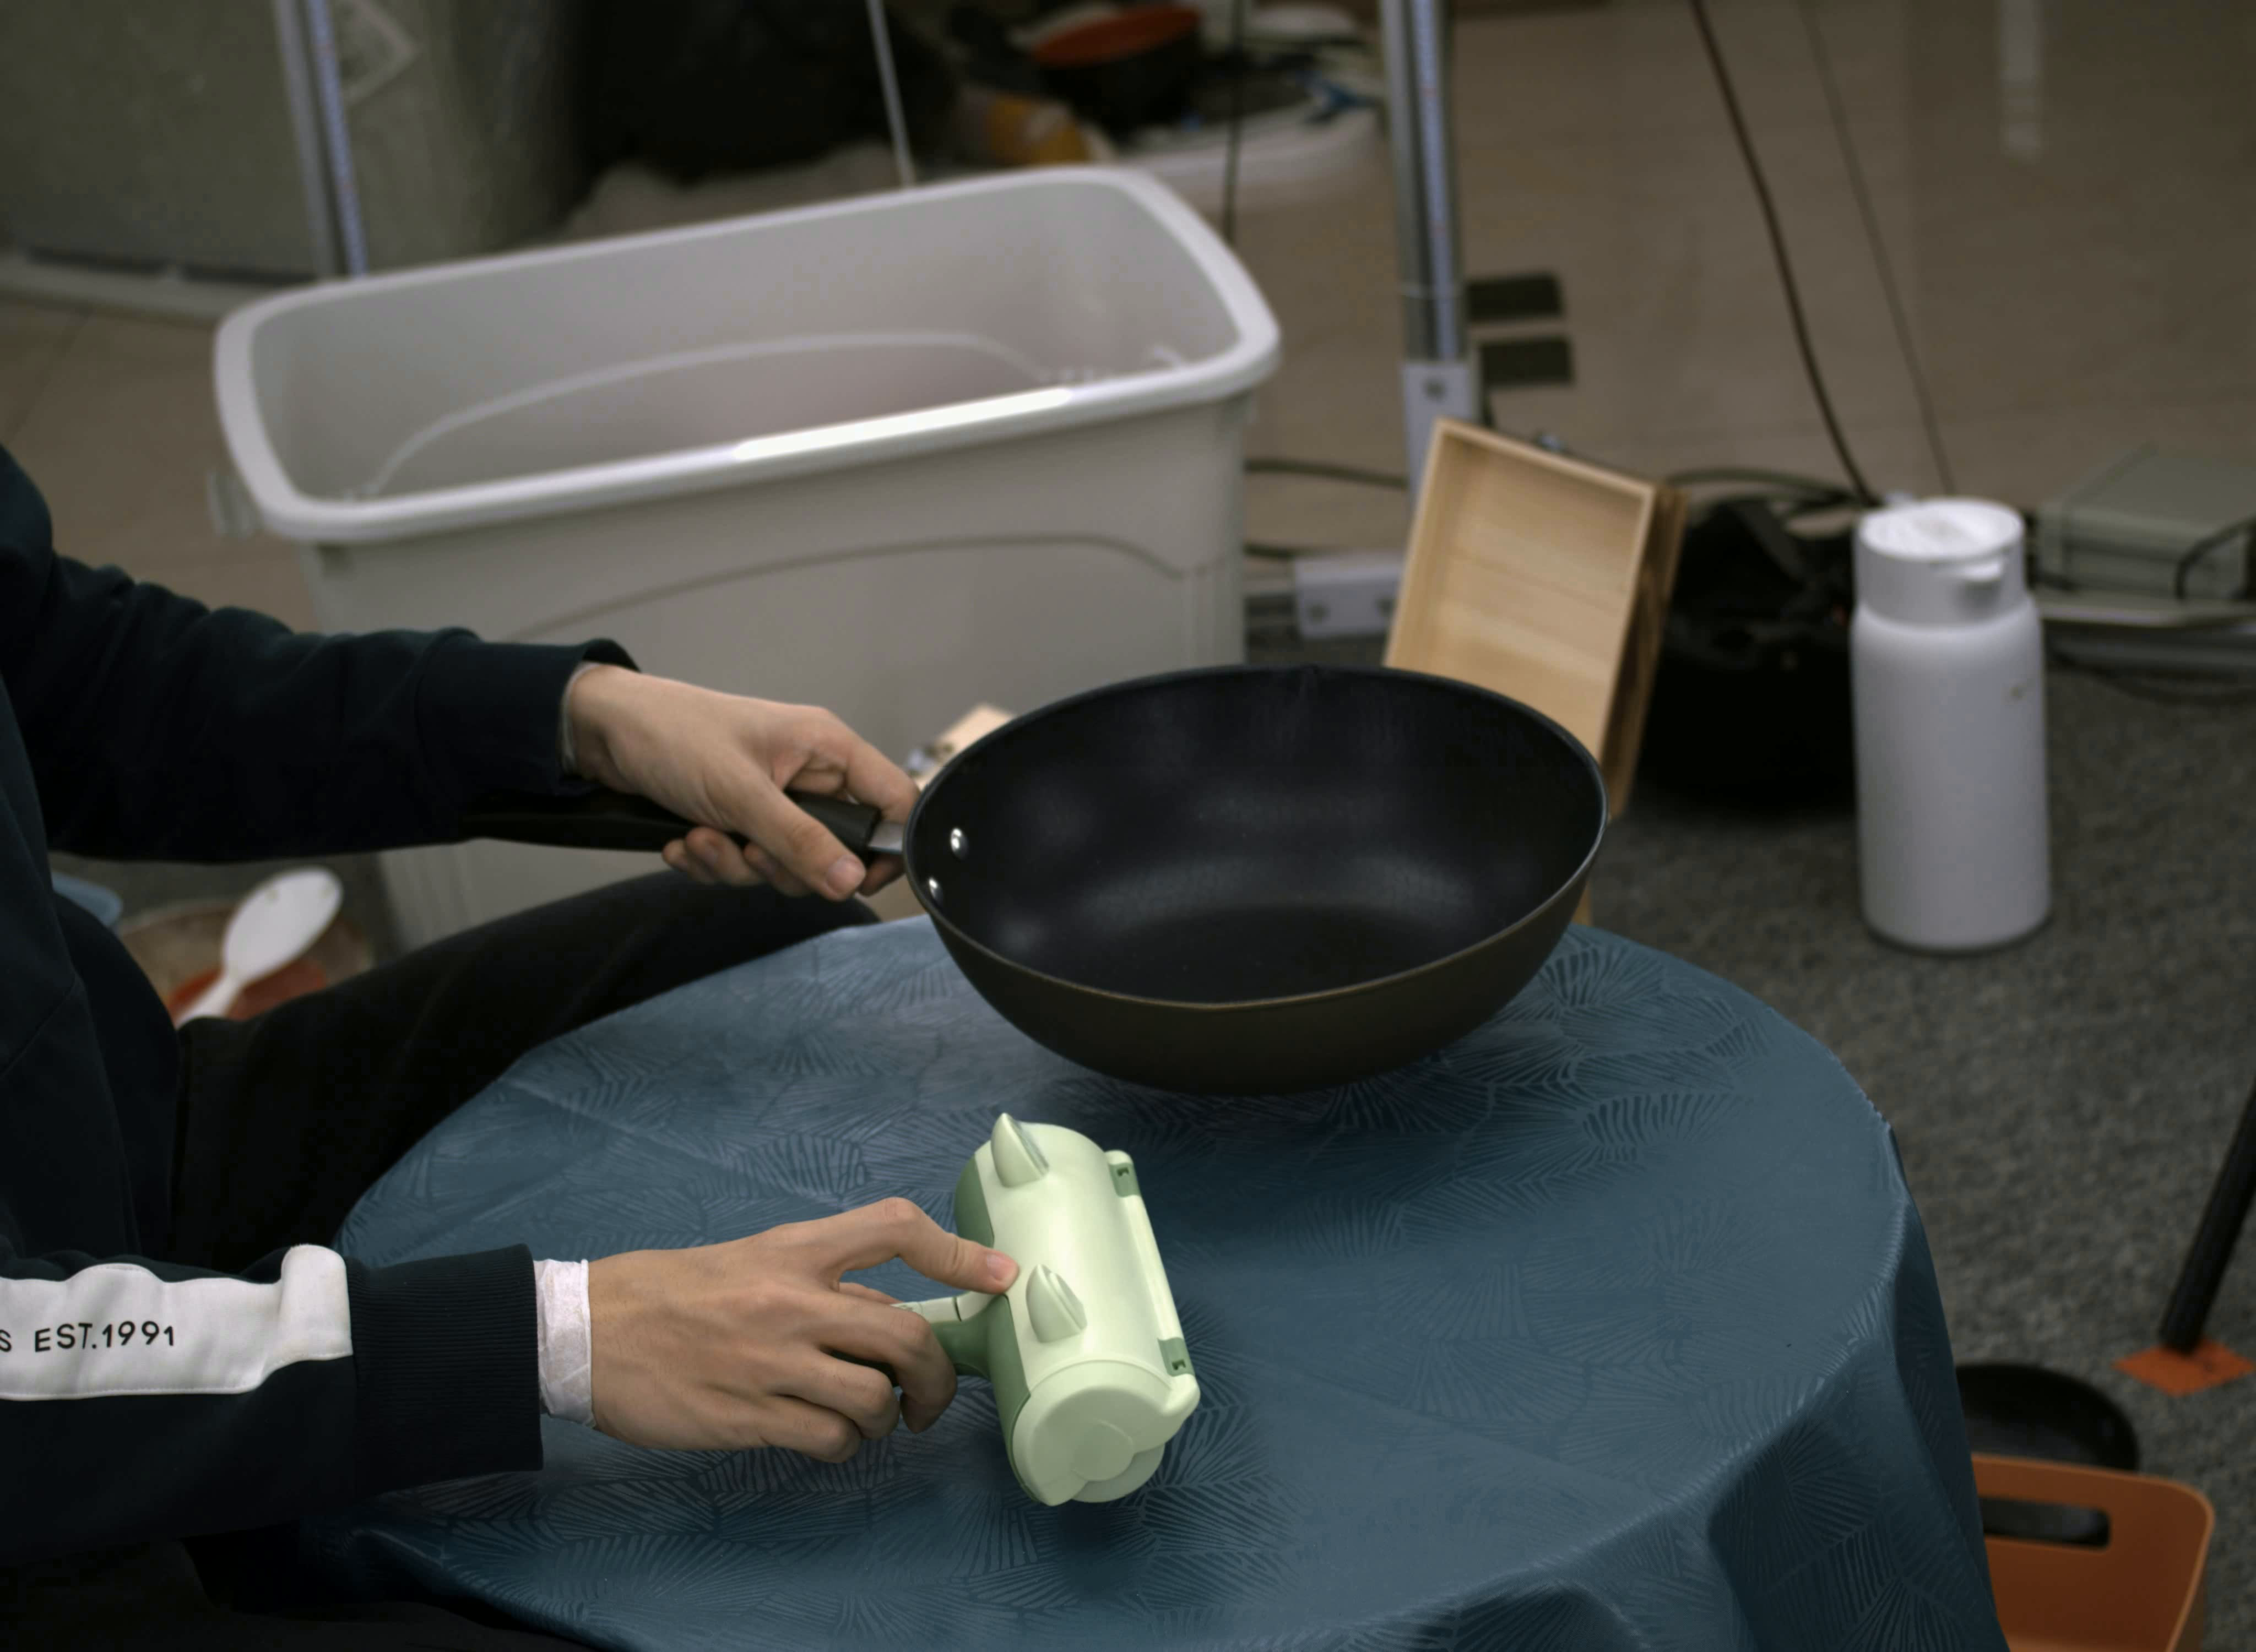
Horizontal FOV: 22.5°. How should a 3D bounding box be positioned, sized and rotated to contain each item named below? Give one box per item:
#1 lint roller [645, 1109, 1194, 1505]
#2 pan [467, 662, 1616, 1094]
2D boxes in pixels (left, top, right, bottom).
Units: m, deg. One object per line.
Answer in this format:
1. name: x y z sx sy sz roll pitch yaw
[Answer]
1. lint roller: -0.079 0.166 1.974 0.183 0.083 0.196 -5 25 -5
2. pan: -0.036 0.030 2.242 0.462 0.088 0.284 0 28 11
